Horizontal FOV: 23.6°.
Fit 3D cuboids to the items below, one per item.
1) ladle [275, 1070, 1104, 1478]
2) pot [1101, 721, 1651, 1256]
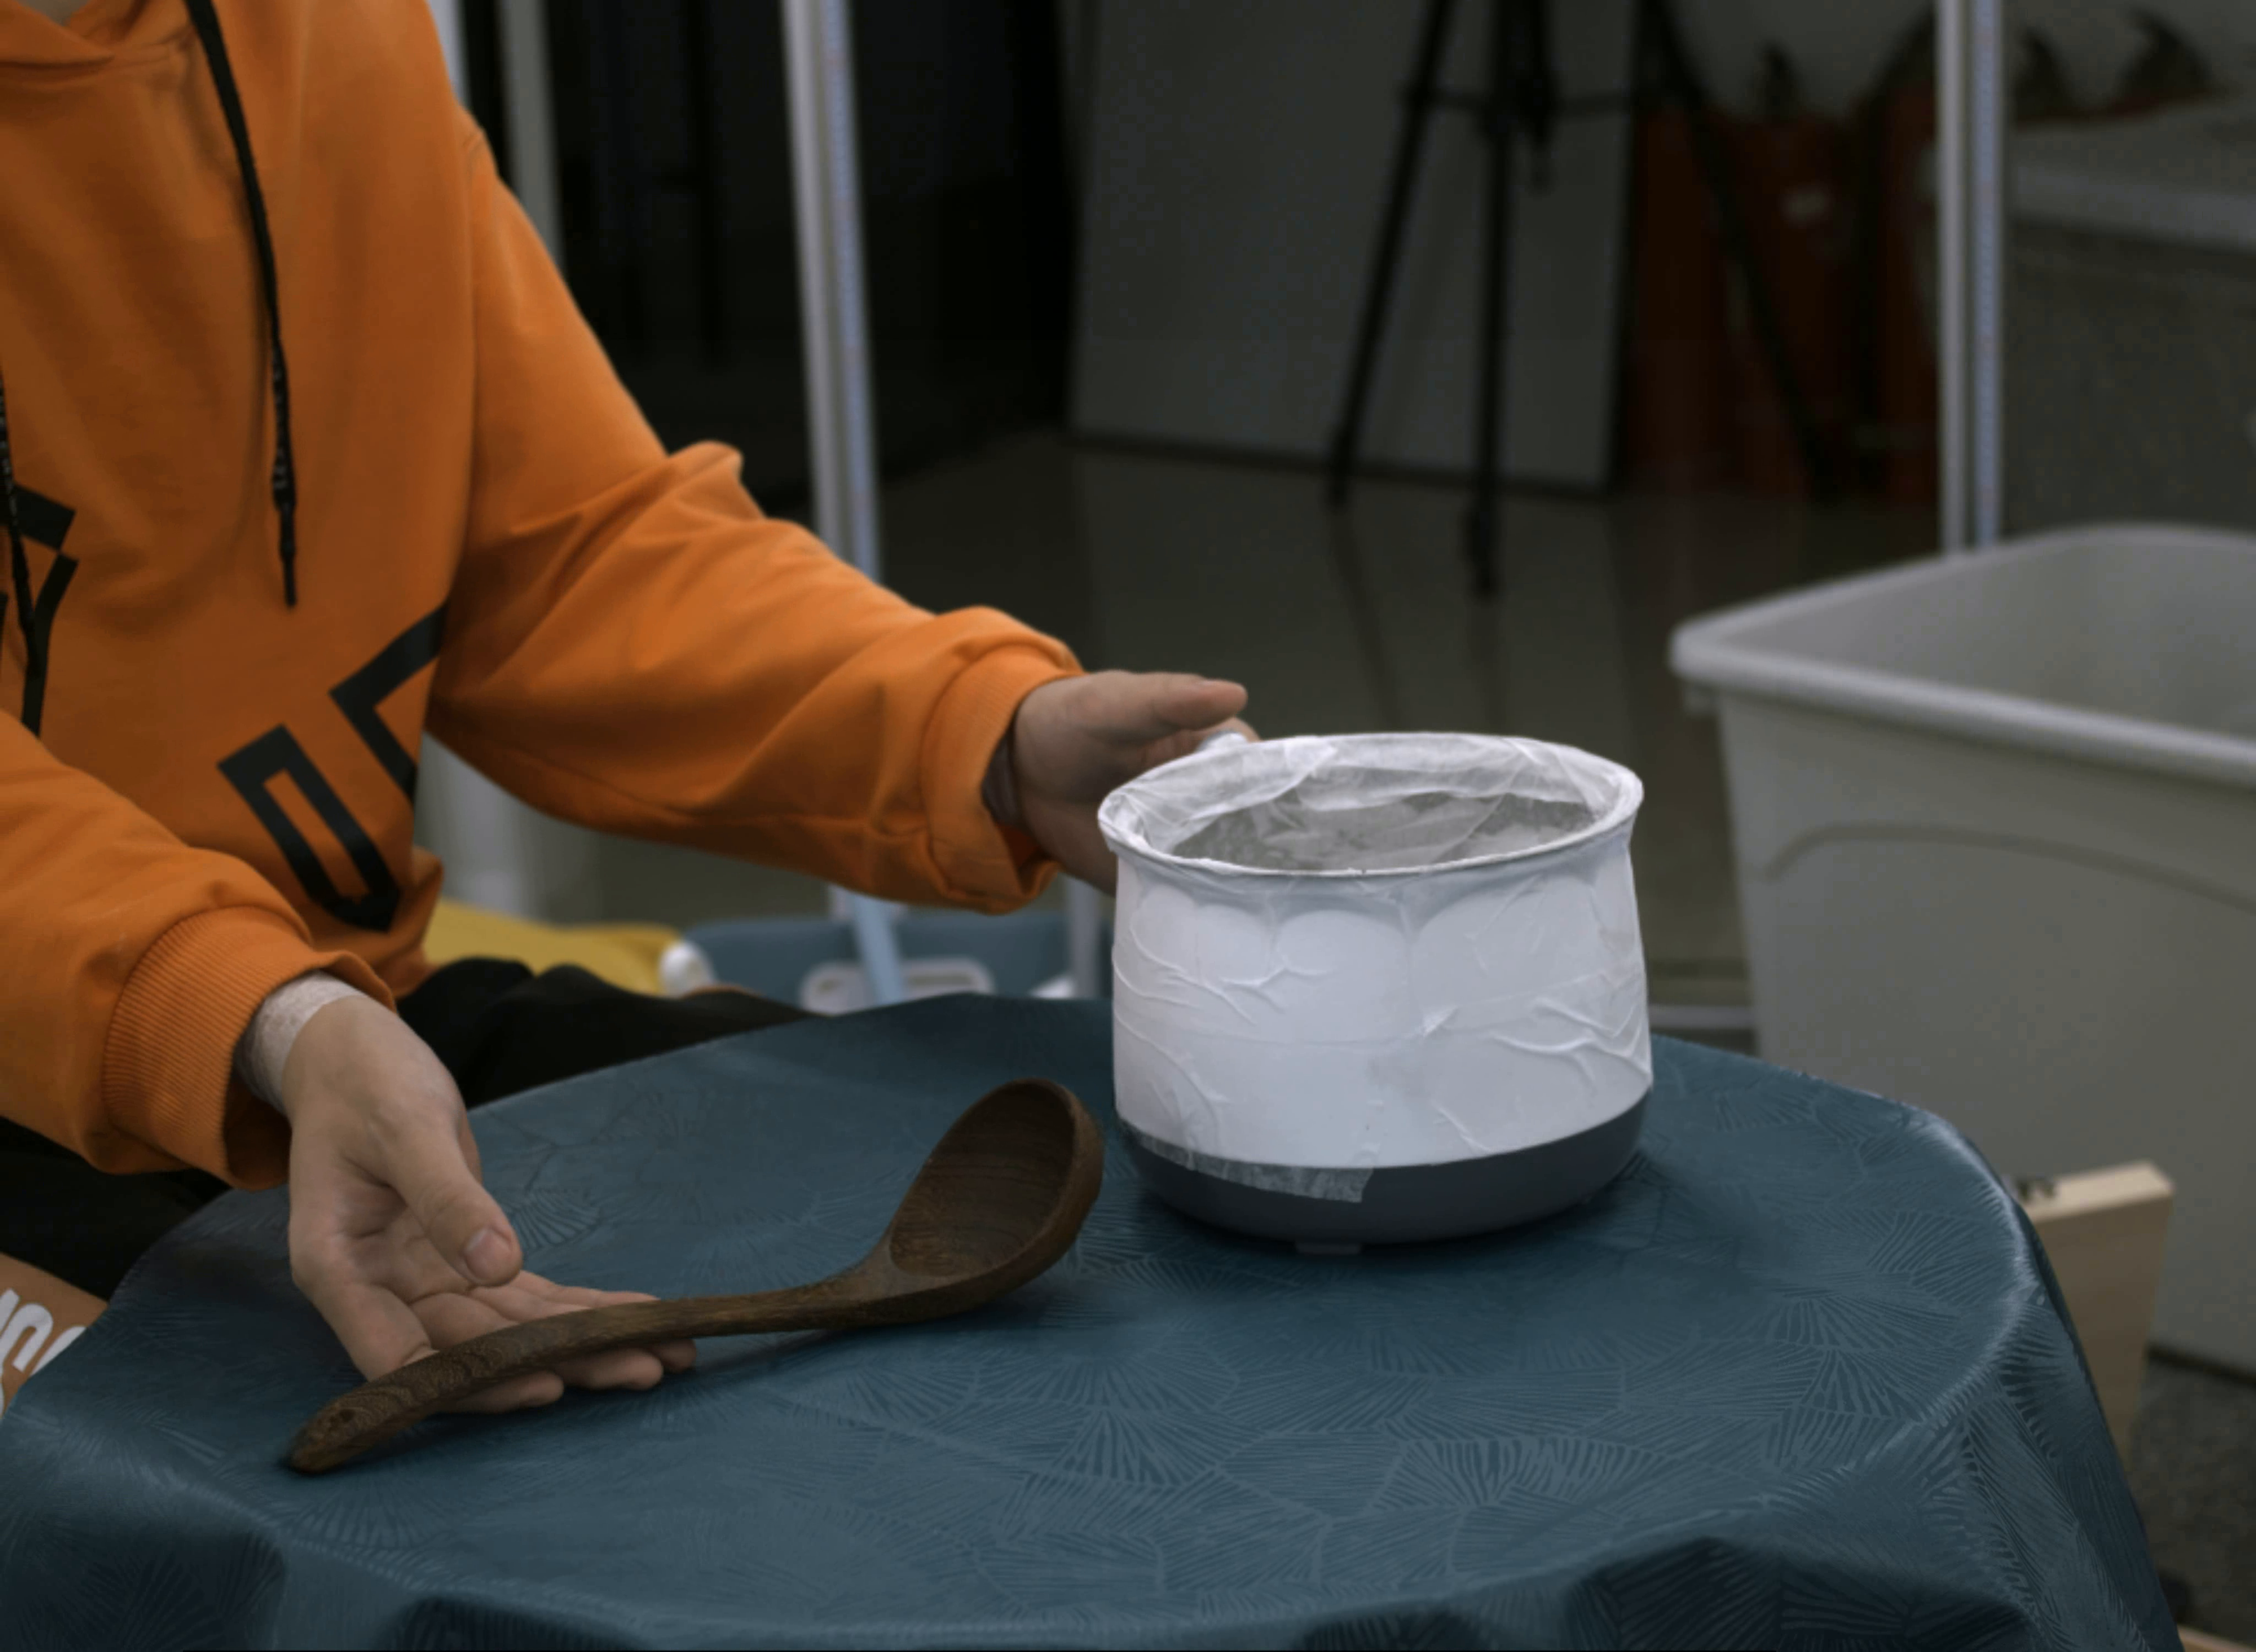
[{"bbox_3d":[-0.129,0.131,1.621,0.268,0.072,0.077,-11,15,-28],"label":"ladle"},{"bbox_3d":[0.068,0.046,1.765,0.175,0.138,0.236,-10,15,-26],"label":"pot"}]
